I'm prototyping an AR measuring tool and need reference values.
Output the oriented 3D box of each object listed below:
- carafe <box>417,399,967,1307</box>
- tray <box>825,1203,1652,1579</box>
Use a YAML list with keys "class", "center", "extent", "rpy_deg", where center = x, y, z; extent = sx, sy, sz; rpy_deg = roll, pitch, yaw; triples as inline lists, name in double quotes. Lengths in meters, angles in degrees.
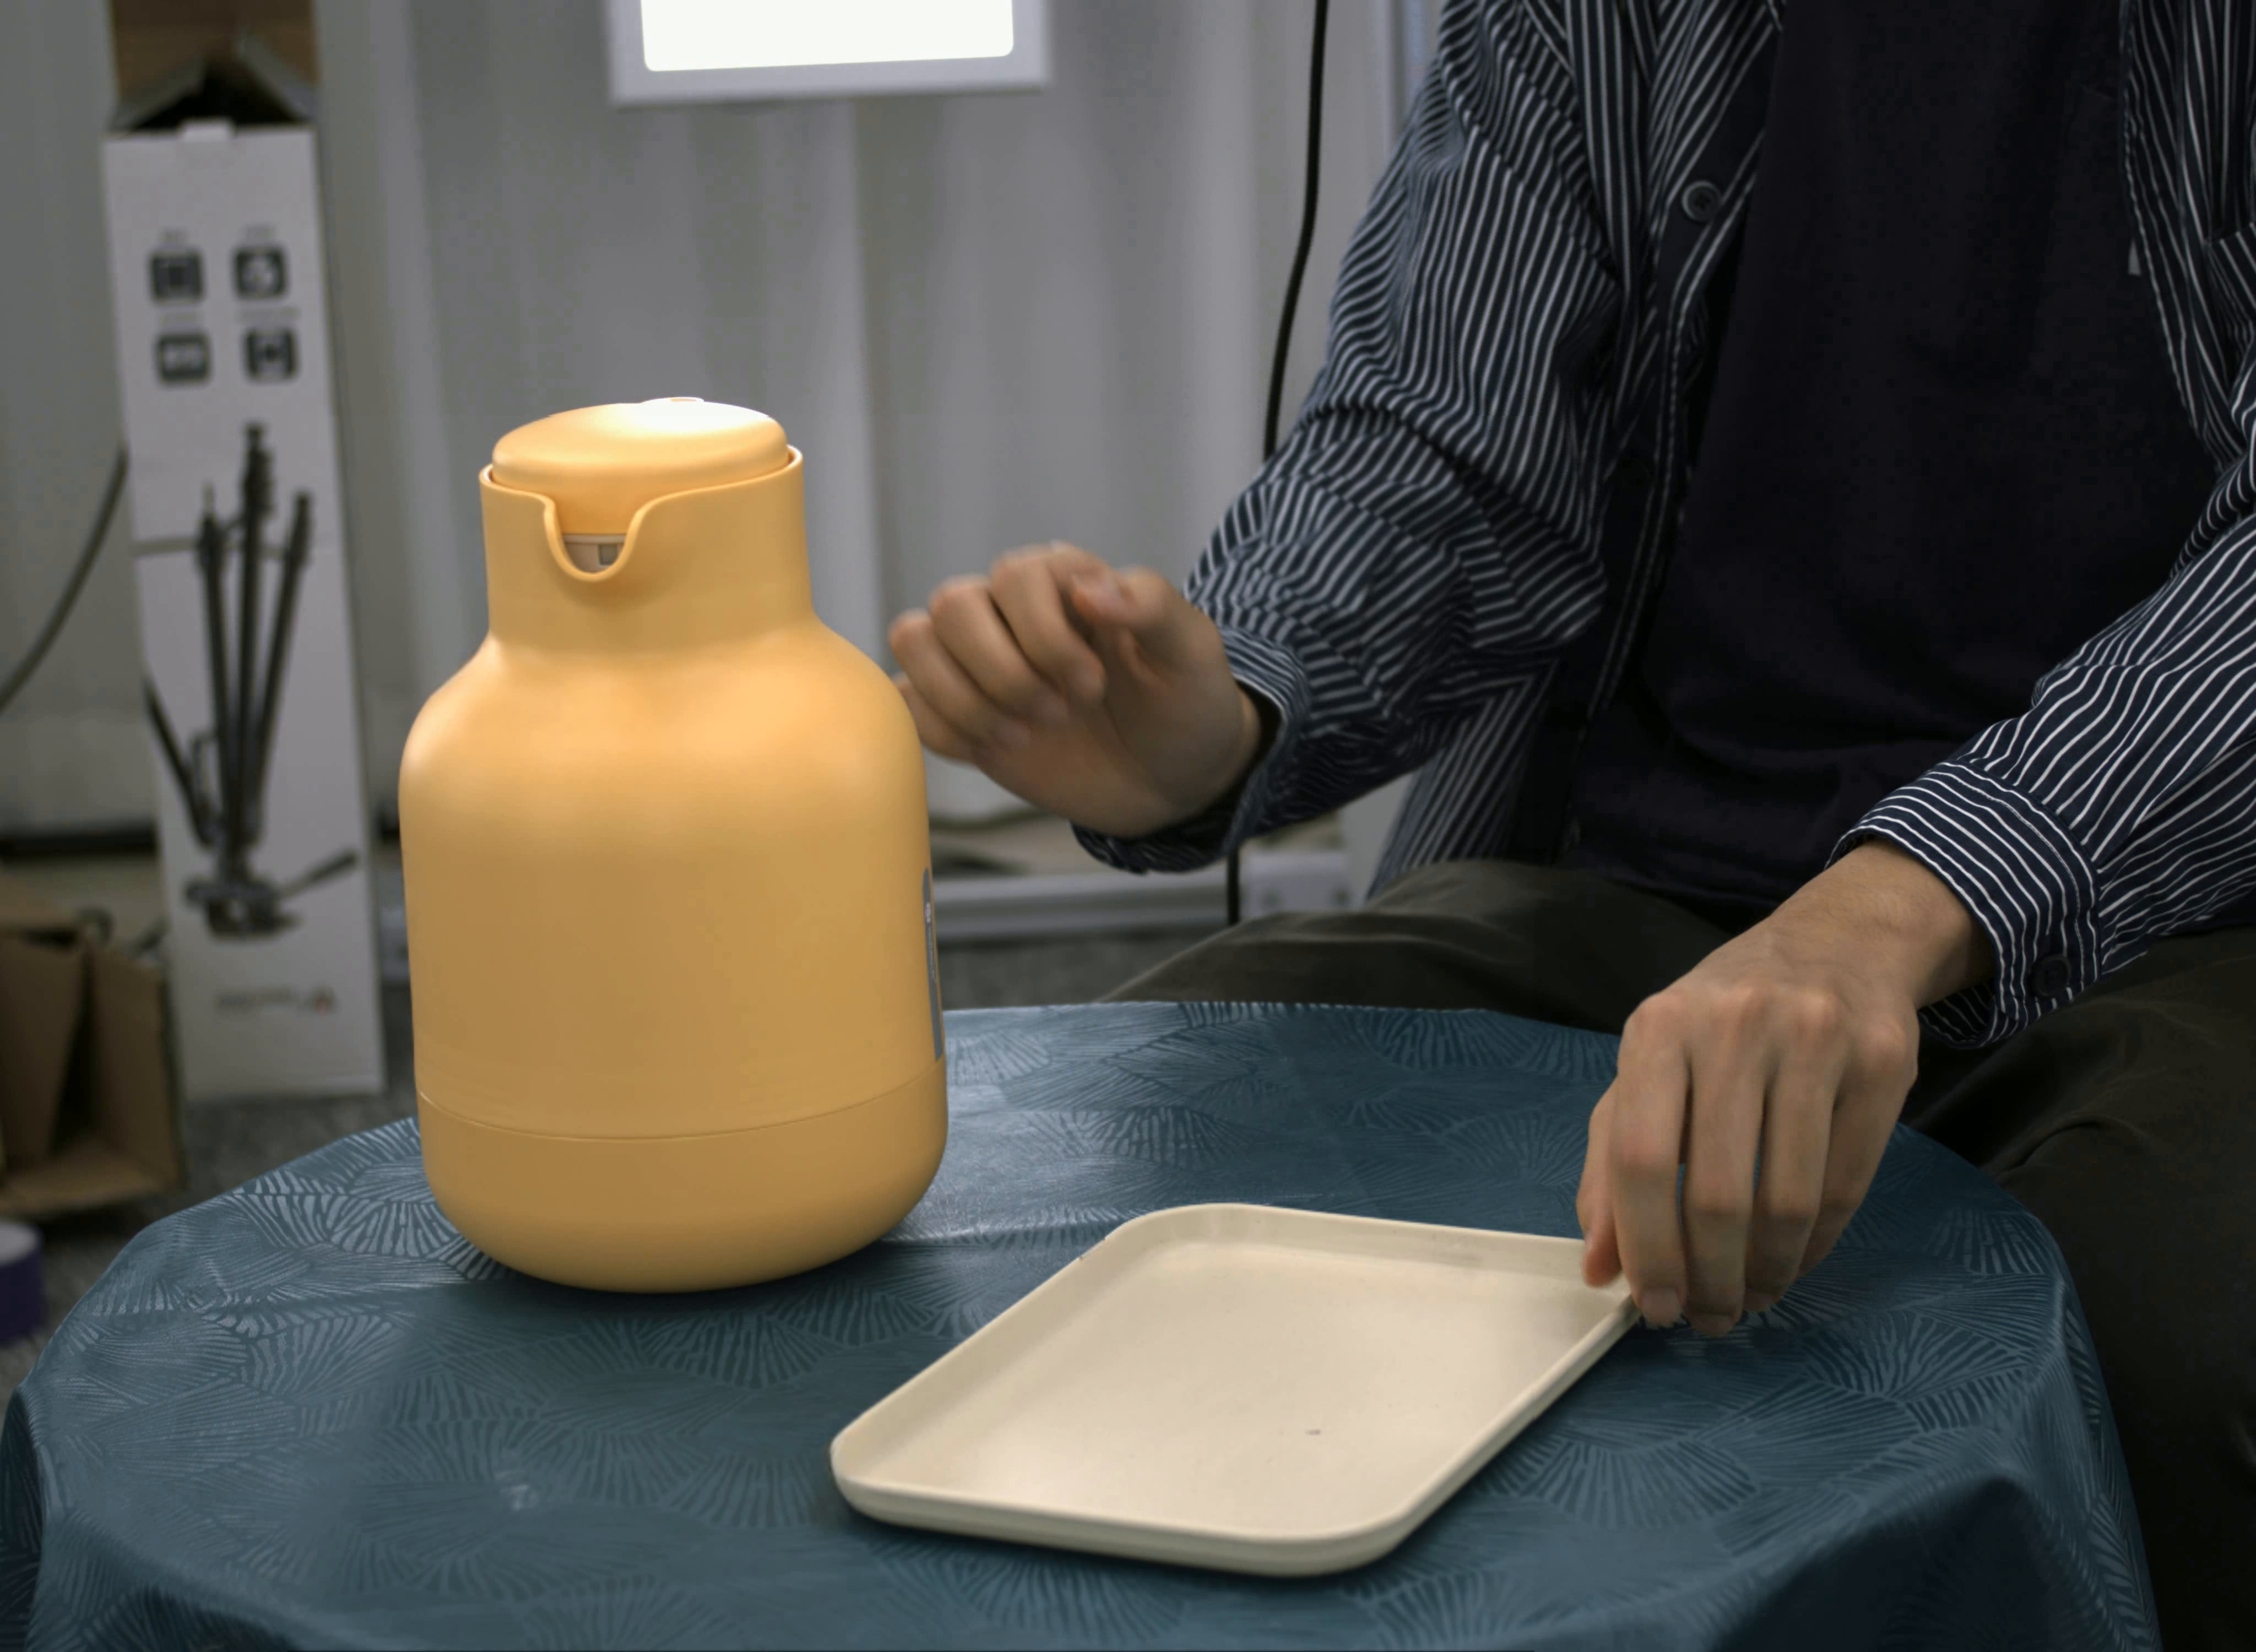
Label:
- class: "carafe"
  center: [-0.131, 0.000, 1.673]
  extent: [0.163, 0.259, 0.203]
  rpy_deg: [0, 14, 5]
- class: "tray"
  center: [0.035, 0.156, 1.522]
  extent: [0.171, 0.017, 0.240]
  rpy_deg: [5, 16, 25]
